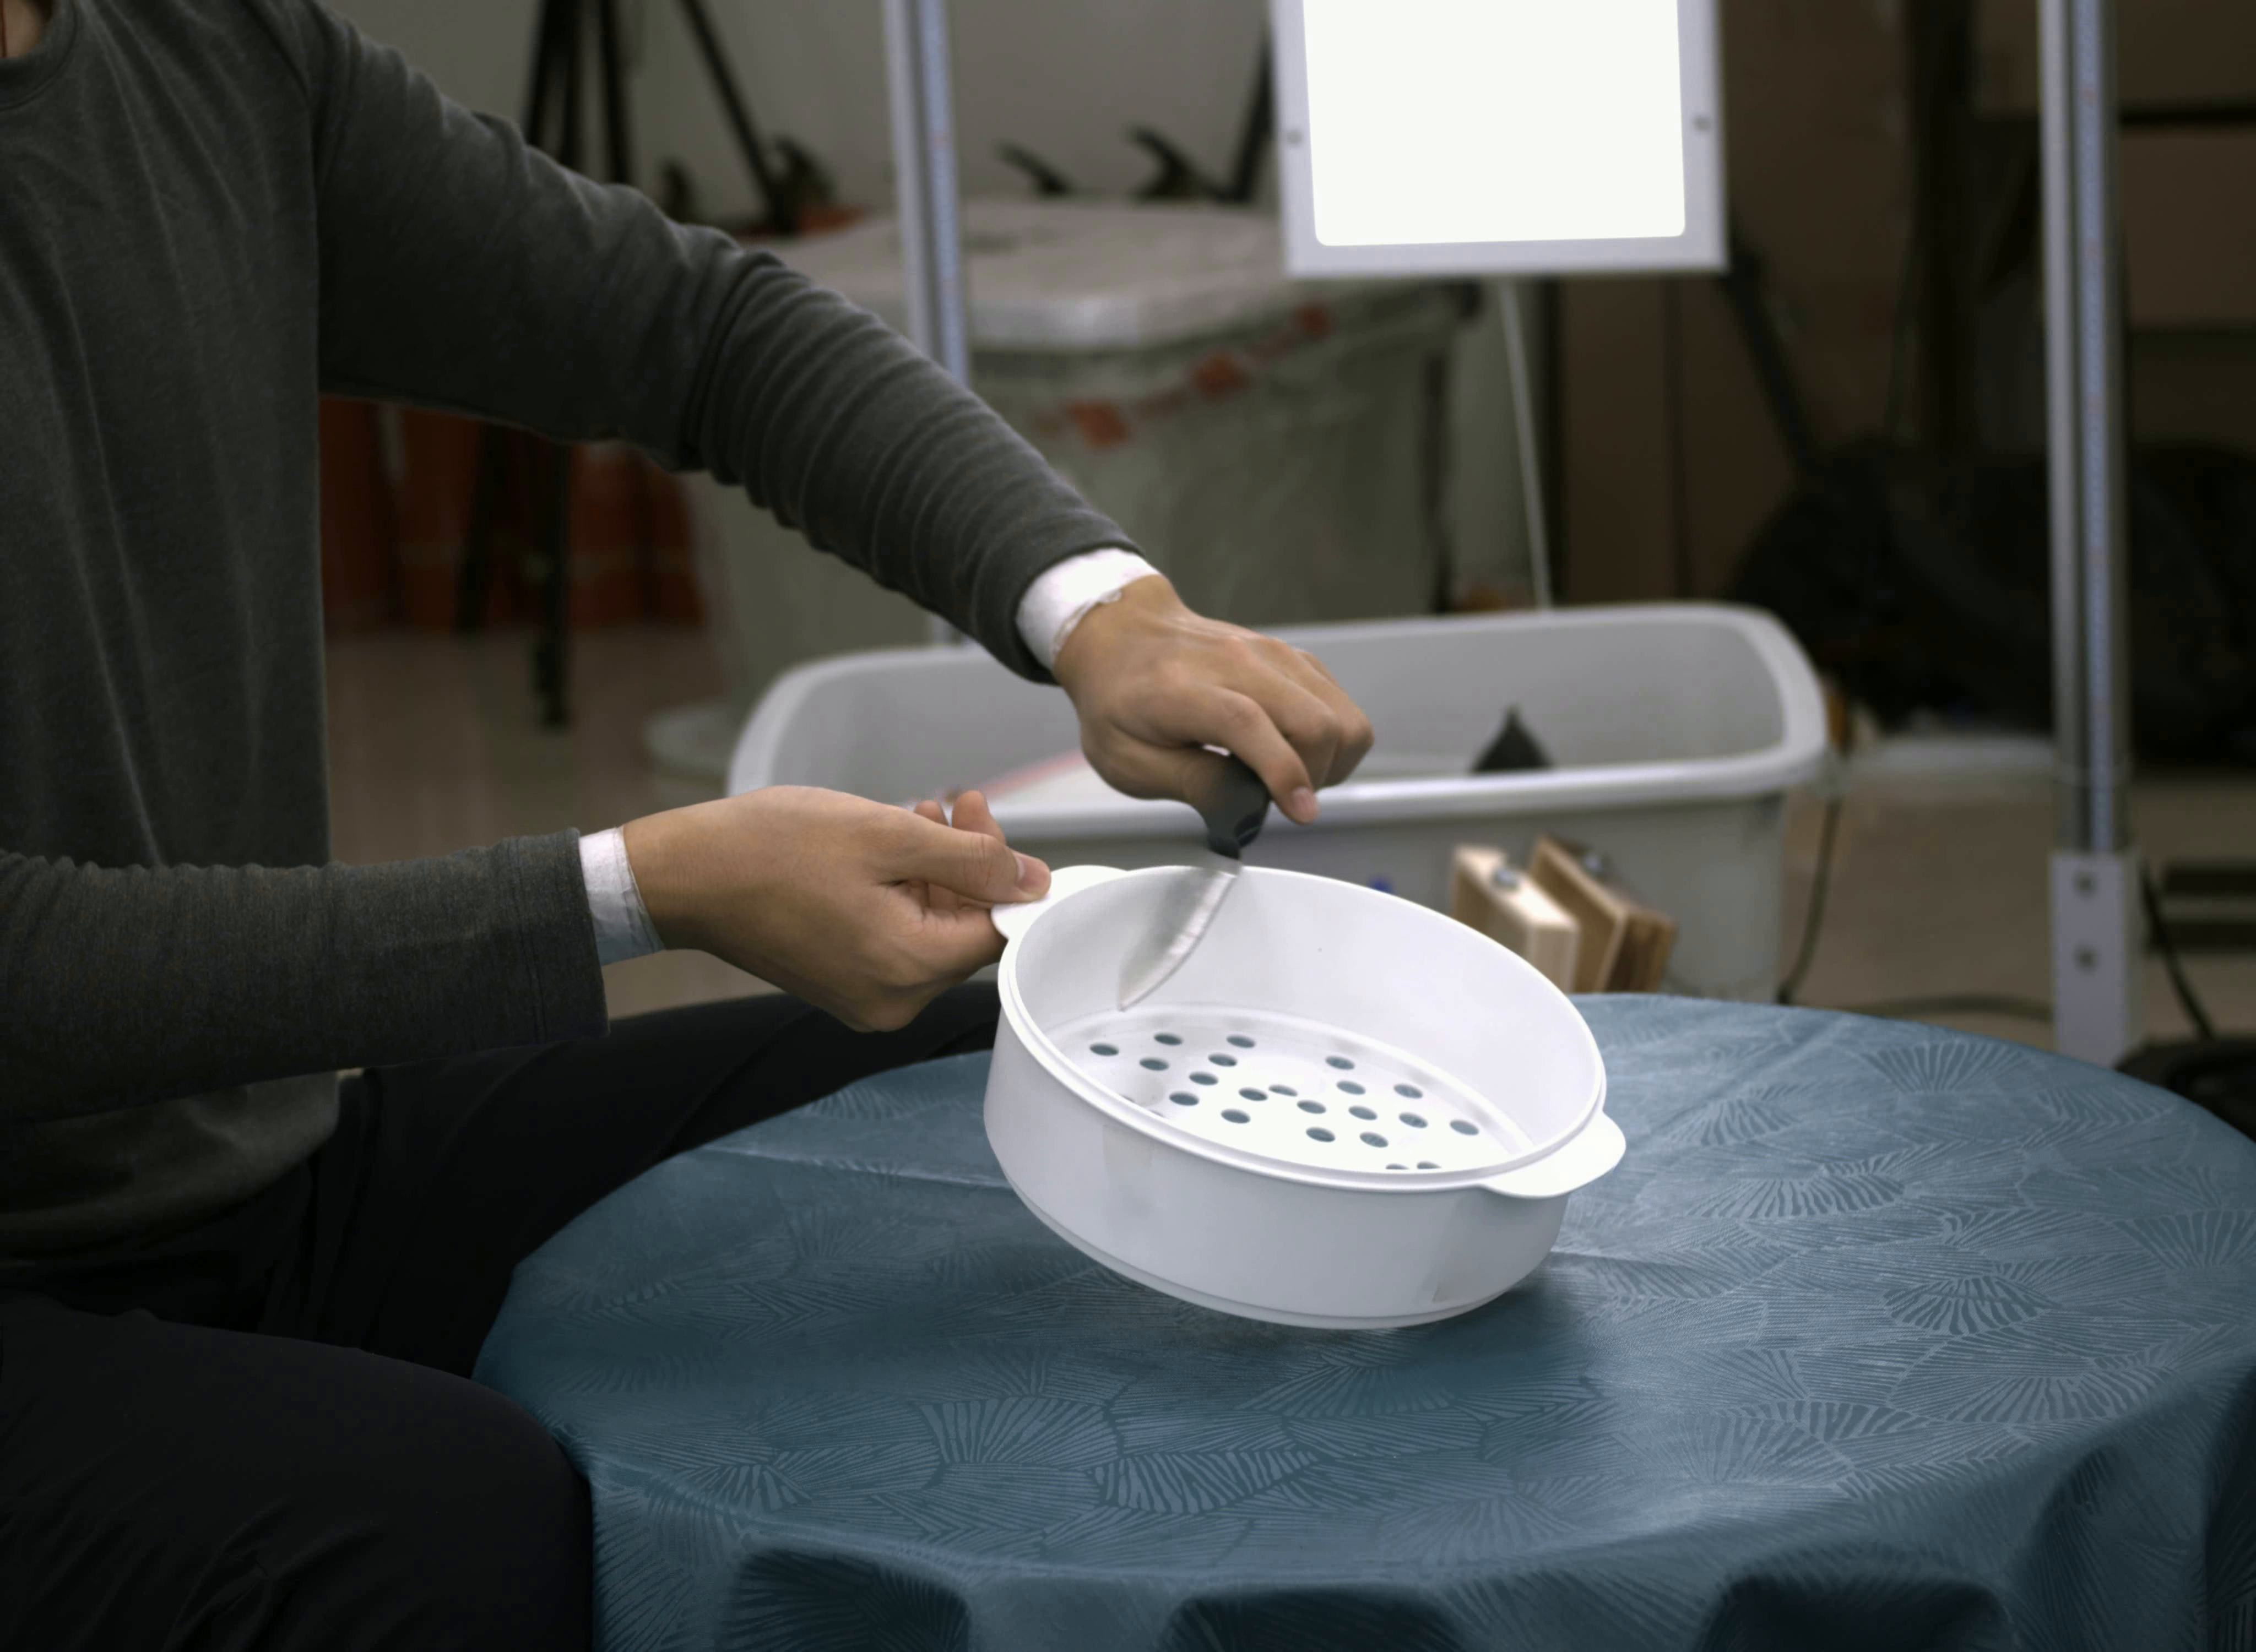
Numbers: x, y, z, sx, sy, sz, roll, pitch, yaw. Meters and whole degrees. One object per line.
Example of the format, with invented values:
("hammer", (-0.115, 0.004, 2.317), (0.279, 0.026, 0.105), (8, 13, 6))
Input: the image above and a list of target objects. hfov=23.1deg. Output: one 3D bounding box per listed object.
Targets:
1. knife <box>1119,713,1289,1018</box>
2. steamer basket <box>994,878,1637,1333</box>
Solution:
("knife", (0.023, 0.012, 1.855), (0.024, 0.016, 0.235), (14, 27, 7))
("steamer basket", (0.055, 0.091, 1.790), (0.234, 0.070, 0.197), (25, 30, 30))
